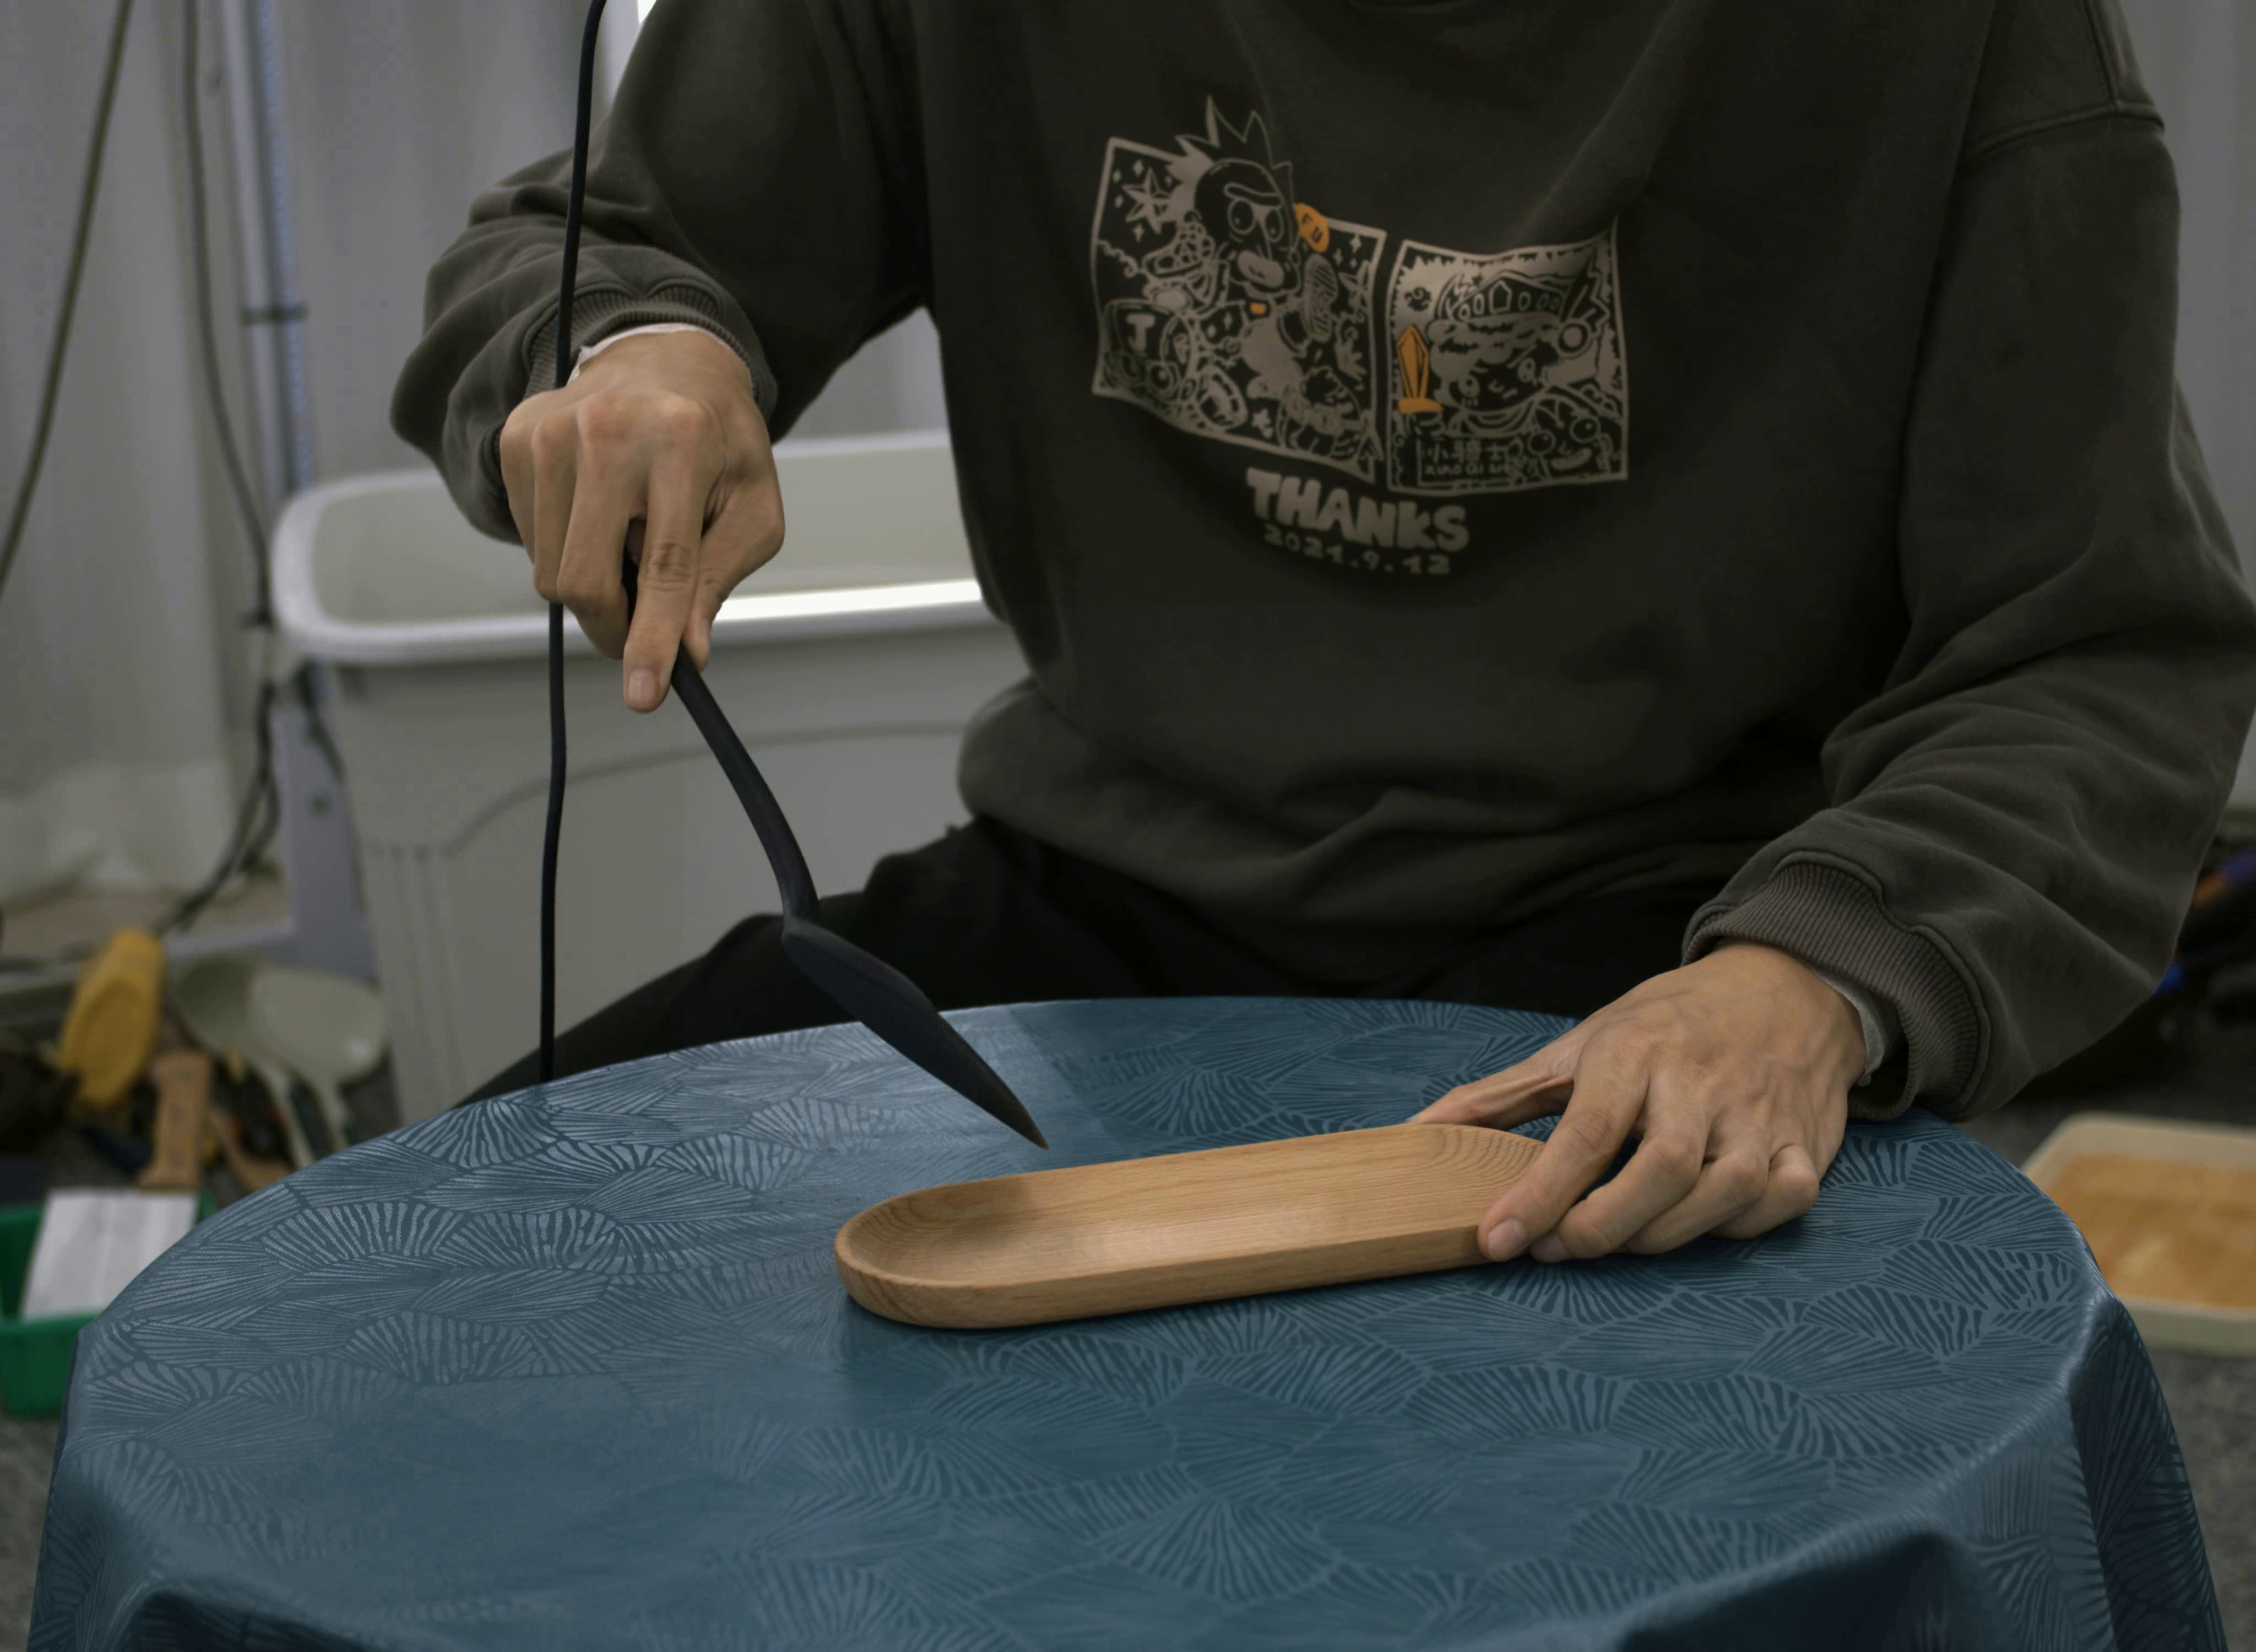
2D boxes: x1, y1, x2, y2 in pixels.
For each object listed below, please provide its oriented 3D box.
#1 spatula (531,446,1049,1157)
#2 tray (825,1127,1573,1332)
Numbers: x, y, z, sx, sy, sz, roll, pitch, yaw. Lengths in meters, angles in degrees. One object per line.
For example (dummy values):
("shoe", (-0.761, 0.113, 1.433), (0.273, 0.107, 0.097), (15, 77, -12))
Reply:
("spatula", (-0.119, -0.020, 1.728), (0.040, 0.098, 0.331), (-33, 52, 3))
("tray", (0.023, 0.123, 1.659), (0.230, 0.020, 0.102), (-8, 14, -12))
